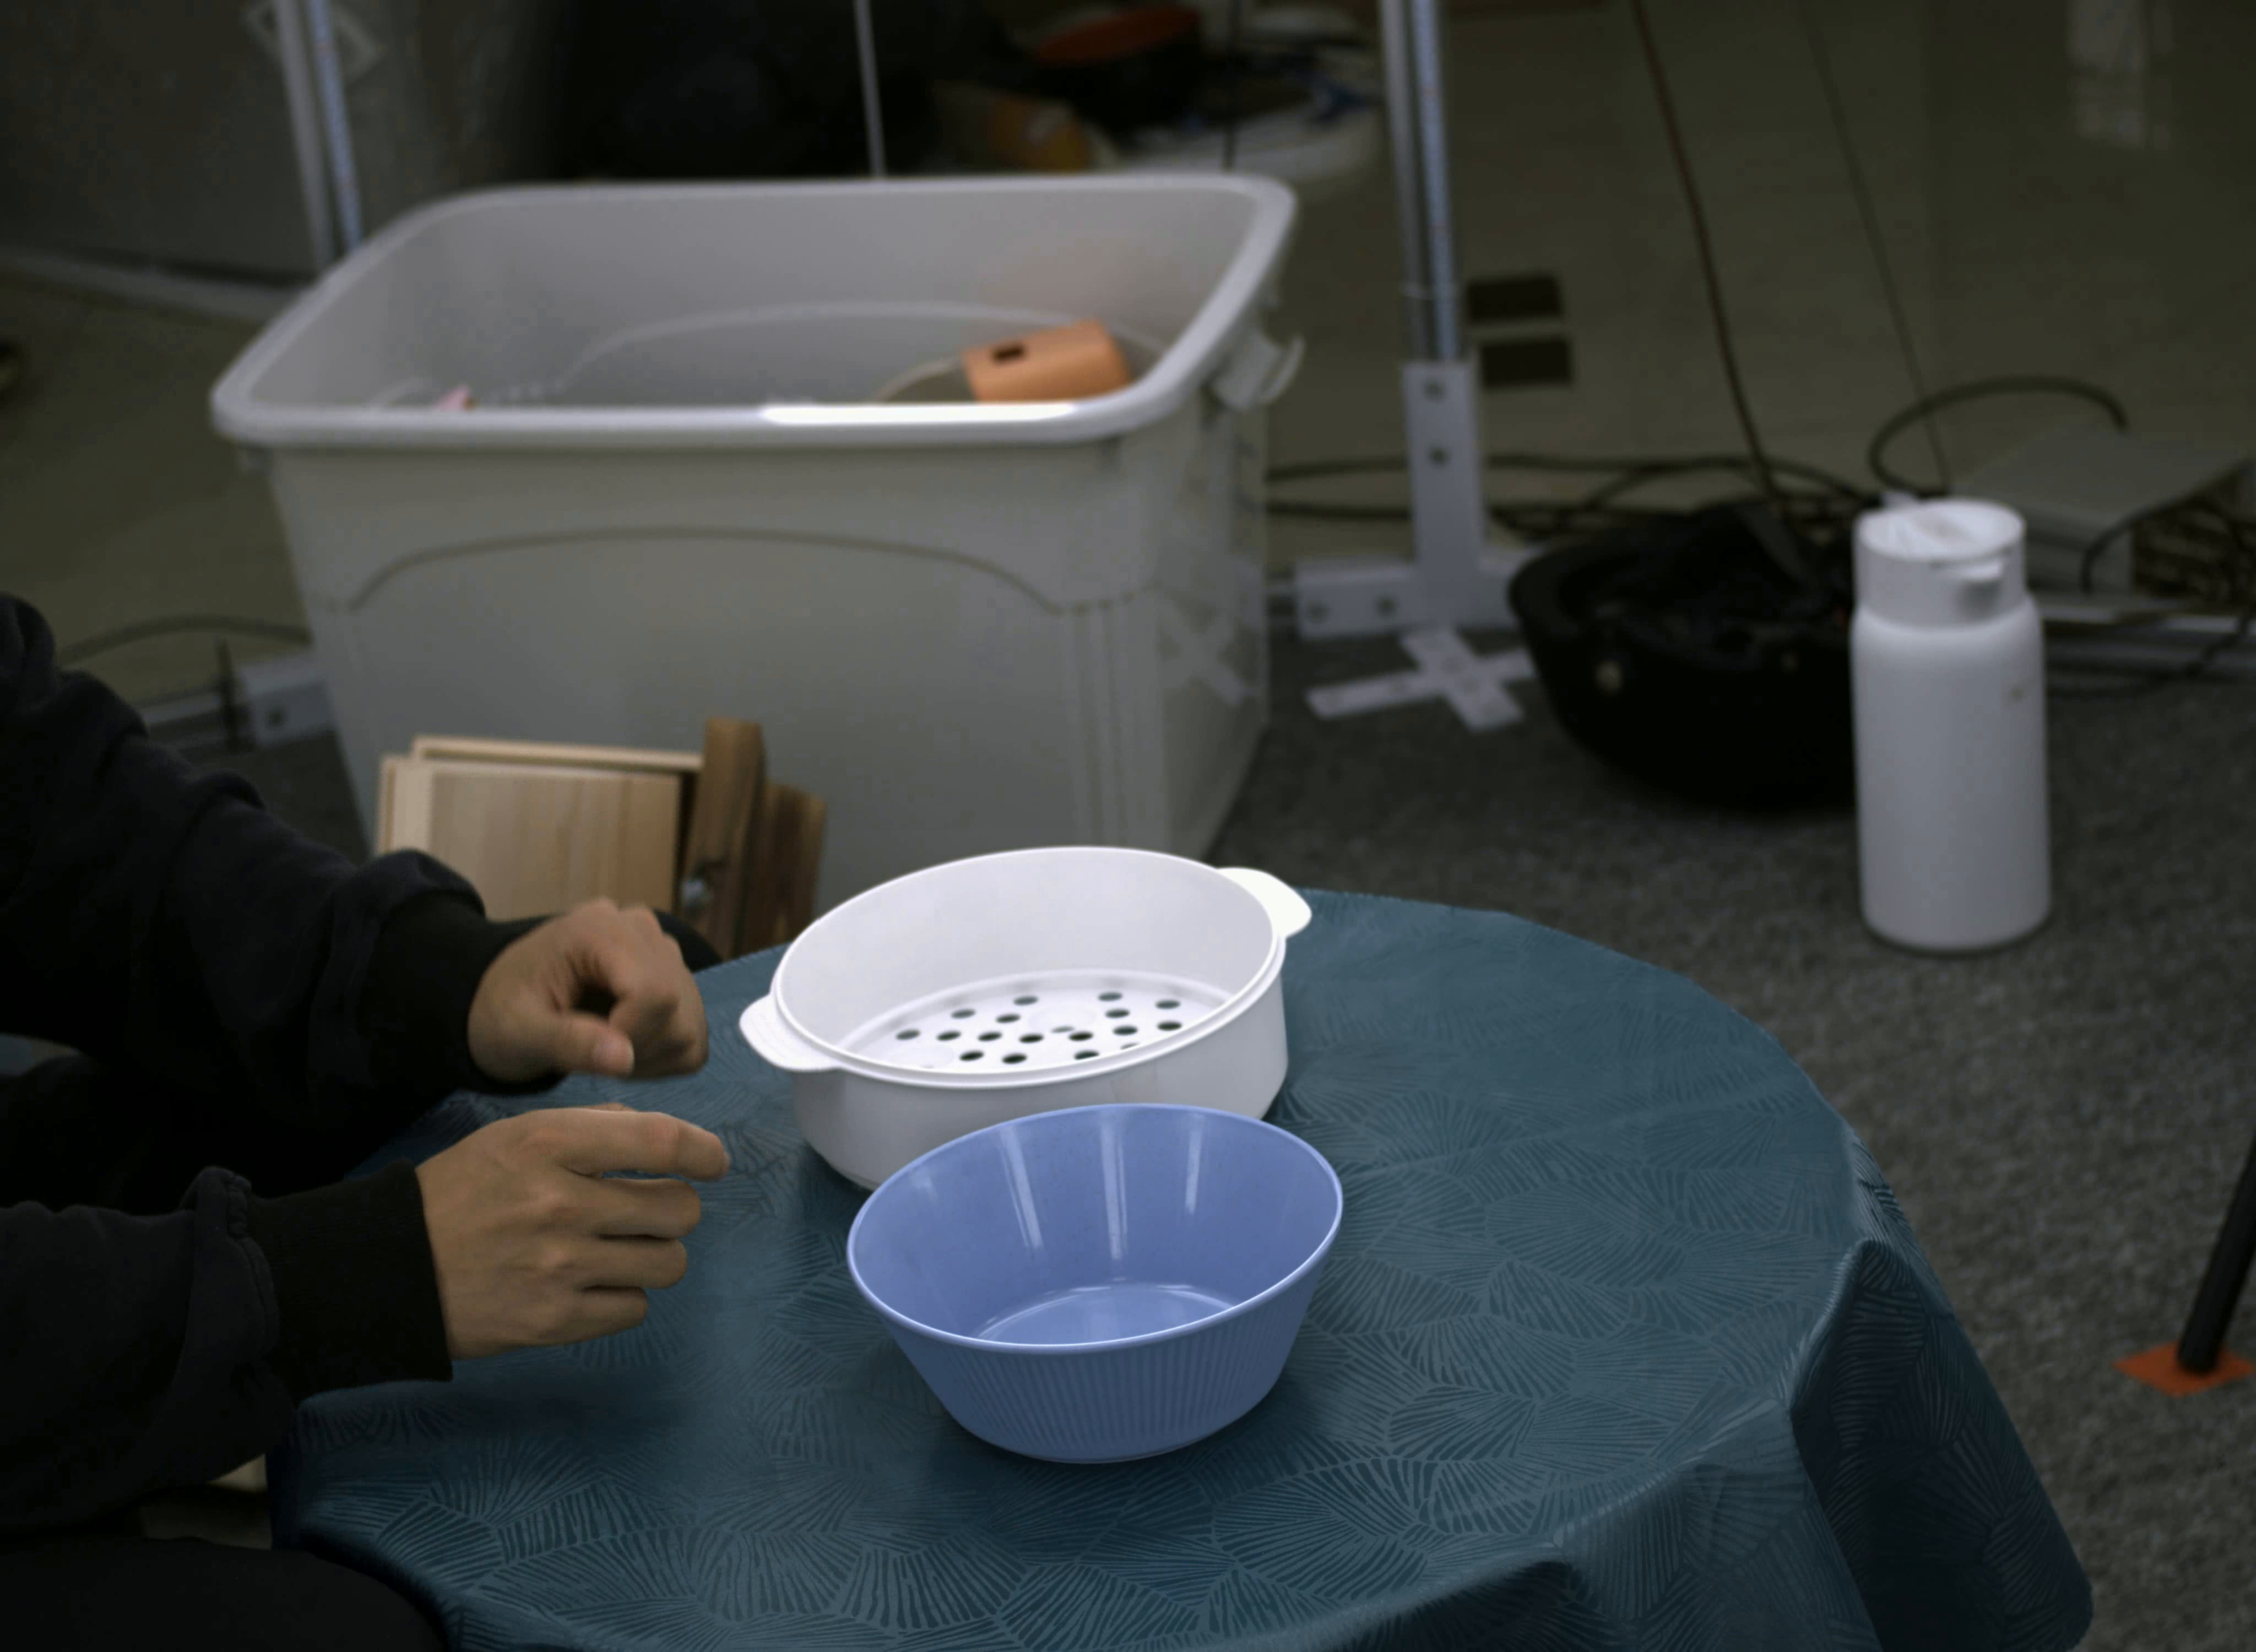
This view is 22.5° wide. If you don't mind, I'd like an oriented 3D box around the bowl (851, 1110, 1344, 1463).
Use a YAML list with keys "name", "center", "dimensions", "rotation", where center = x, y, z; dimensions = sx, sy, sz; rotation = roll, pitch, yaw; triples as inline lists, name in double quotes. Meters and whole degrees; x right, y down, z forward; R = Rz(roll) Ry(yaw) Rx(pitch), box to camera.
- name: "bowl"
  center: [-0.008, 0.169, 2.006]
  dimensions: [0.176, 0.071, 0.173]
  rotation: [-6, 24, 3]

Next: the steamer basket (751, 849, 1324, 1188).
- name: "steamer basket"
  center: [-0.032, 0.079, 2.208]
  dimensions: [0.229, 0.070, 0.199]
  rotation: [-14, 26, -20]
